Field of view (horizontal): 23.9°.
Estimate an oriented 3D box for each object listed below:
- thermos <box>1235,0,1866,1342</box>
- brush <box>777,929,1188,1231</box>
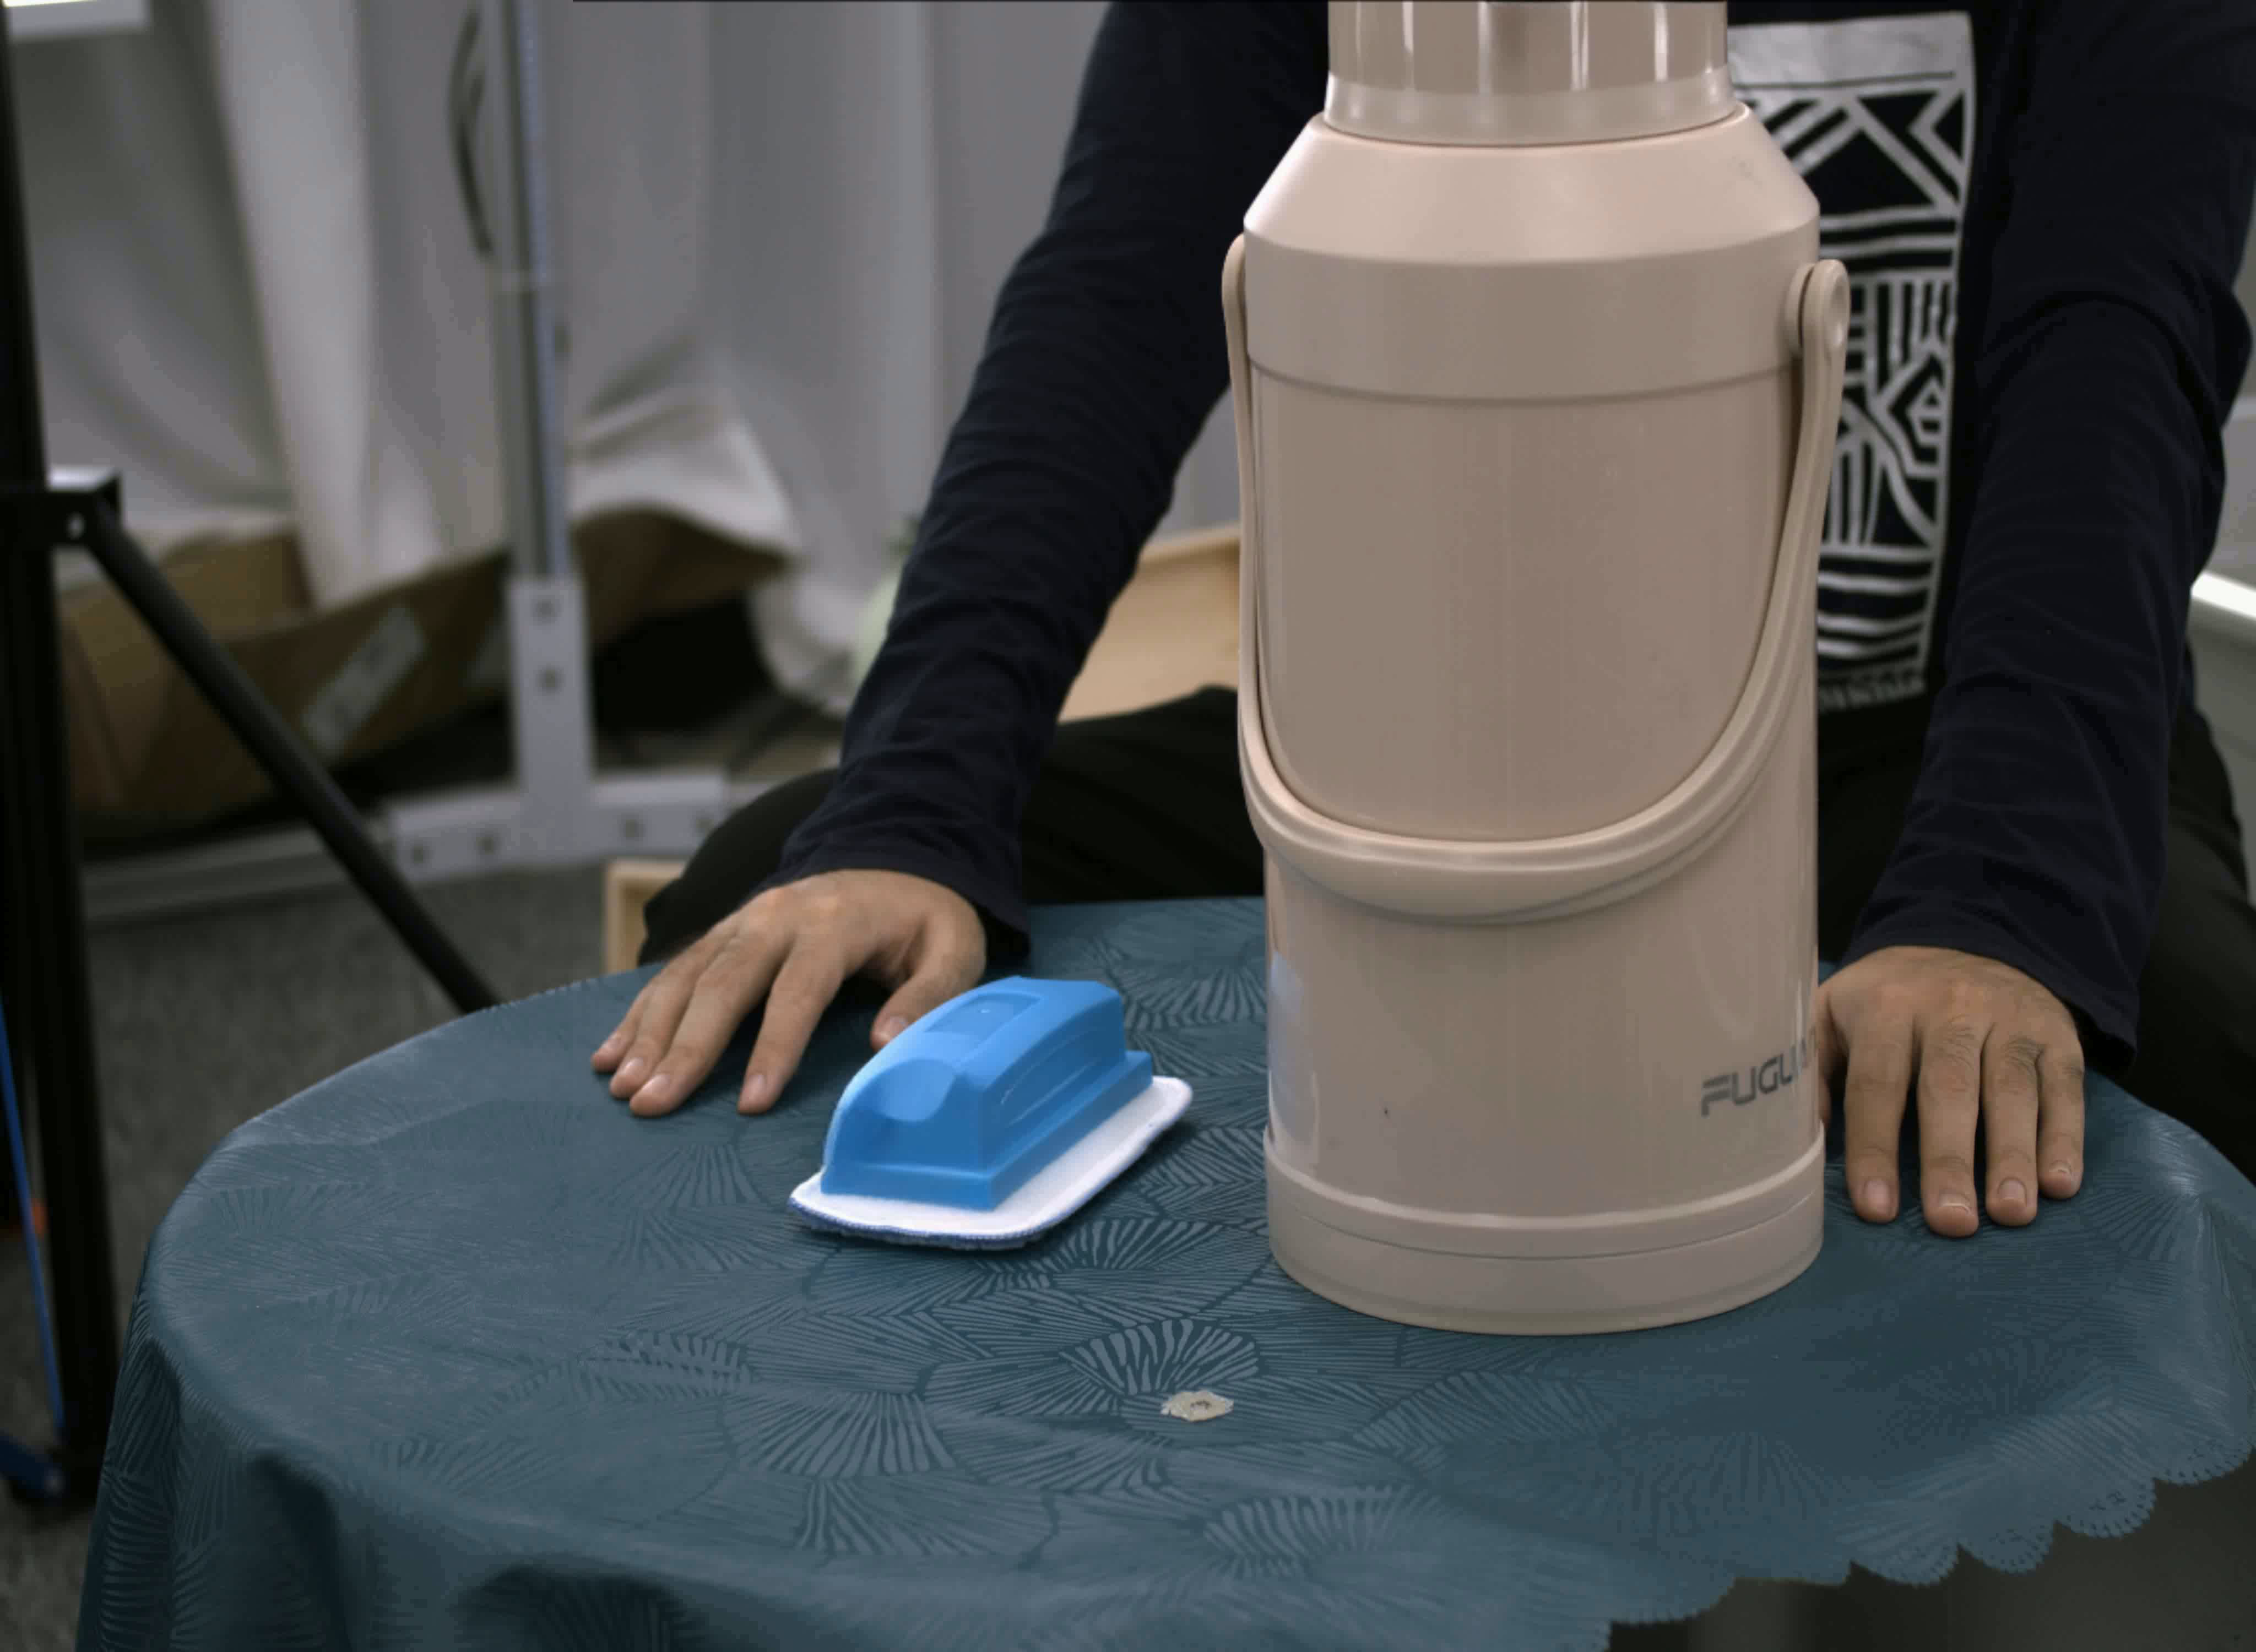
[{"bbox_3d":[0.122,-0.076,1.466,0.178,0.406,0.204,3,15,26],"label":"thermos"},{"bbox_3d":[-0.041,0.071,1.581,0.085,0.056,0.142,9,23,23],"label":"brush"}]
